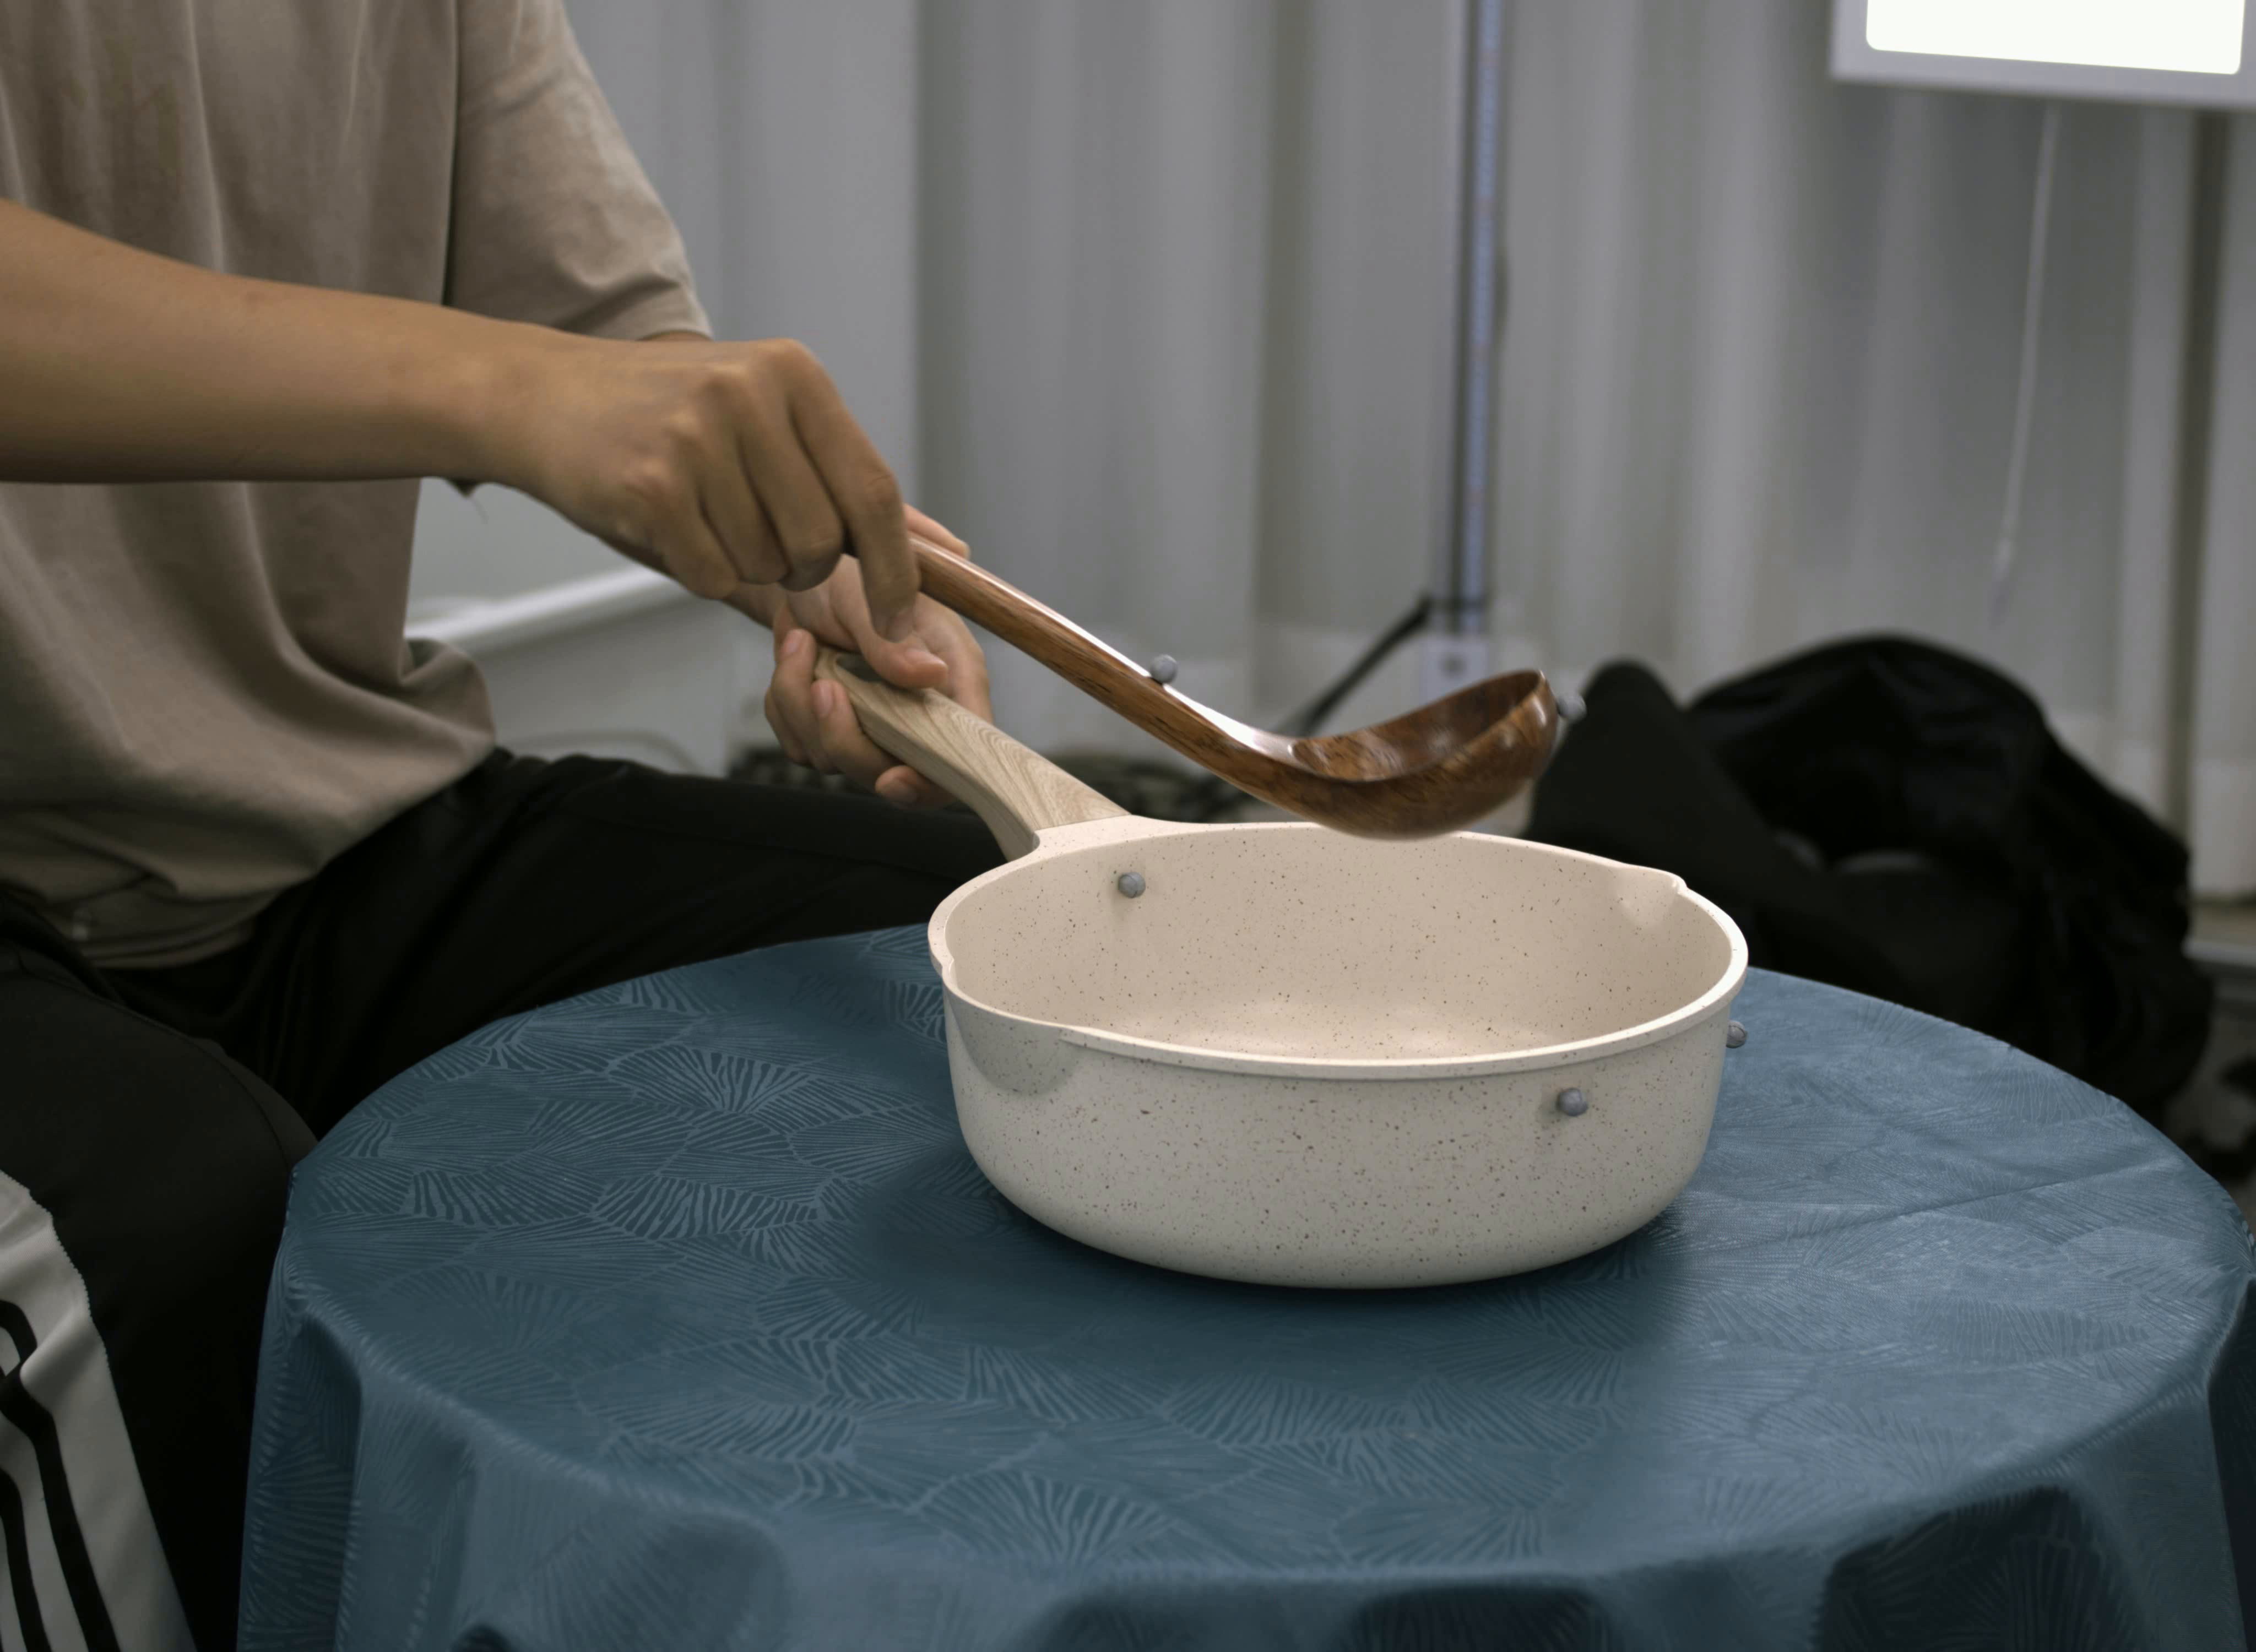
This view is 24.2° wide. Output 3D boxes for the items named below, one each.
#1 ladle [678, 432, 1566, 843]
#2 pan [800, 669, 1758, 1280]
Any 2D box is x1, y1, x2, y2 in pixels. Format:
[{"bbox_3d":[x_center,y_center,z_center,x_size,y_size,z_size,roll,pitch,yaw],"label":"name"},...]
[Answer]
[{"bbox_3d":[0.002,-0.073,1.572,0.274,0.077,0.081,30,8,-5],"label":"ladle"},{"bbox_3d":[0.017,0.042,1.695,0.264,0.103,0.429,-12,20,-32],"label":"pan"}]
